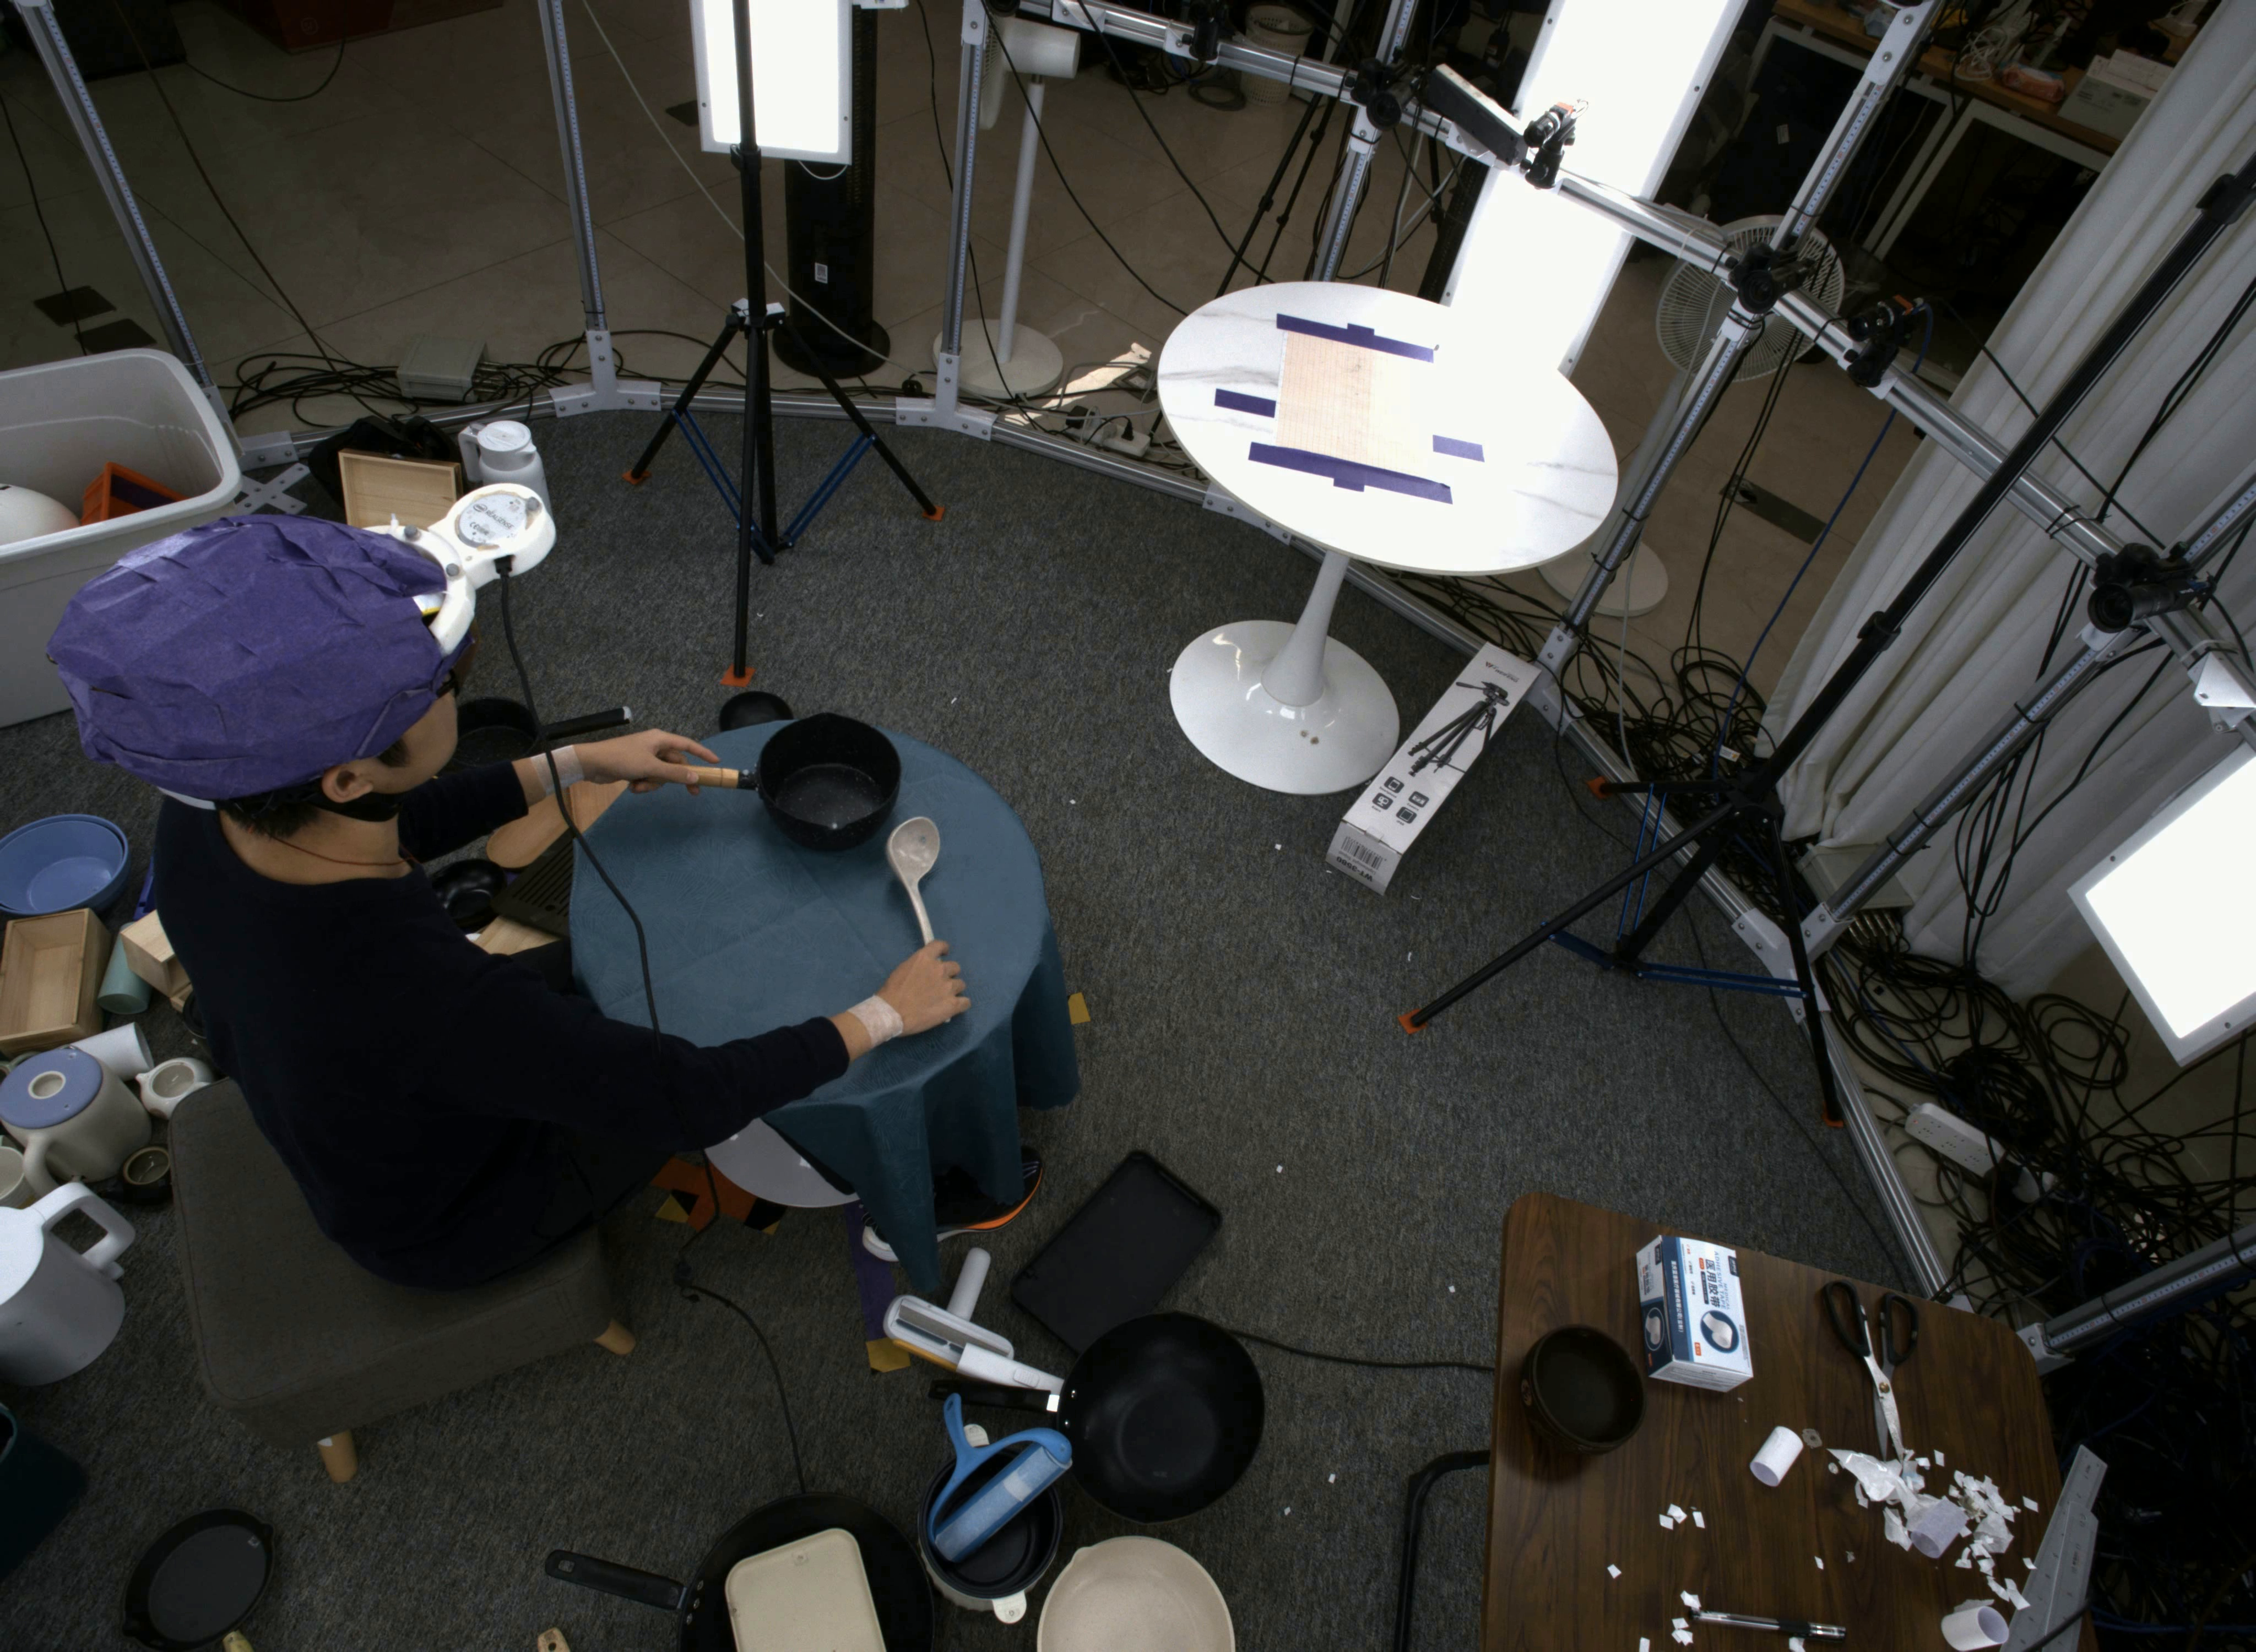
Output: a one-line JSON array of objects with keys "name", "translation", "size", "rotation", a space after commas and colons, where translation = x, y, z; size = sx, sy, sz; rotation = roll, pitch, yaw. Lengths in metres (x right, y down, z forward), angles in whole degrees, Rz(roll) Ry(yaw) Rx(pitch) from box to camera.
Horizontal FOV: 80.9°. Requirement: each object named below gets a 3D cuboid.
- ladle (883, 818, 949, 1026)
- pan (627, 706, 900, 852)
[{"name": "ladle", "translation": [-0.241, 0.113, 1.617], "size": [0.069, 0.092, 0.268], "rotation": [-30, 60, 9]}, {"name": "pan", "translation": [-0.469, -0.054, 1.672], "size": [0.344, 0.110, 0.203], "rotation": [-4, 56, -19]}]
